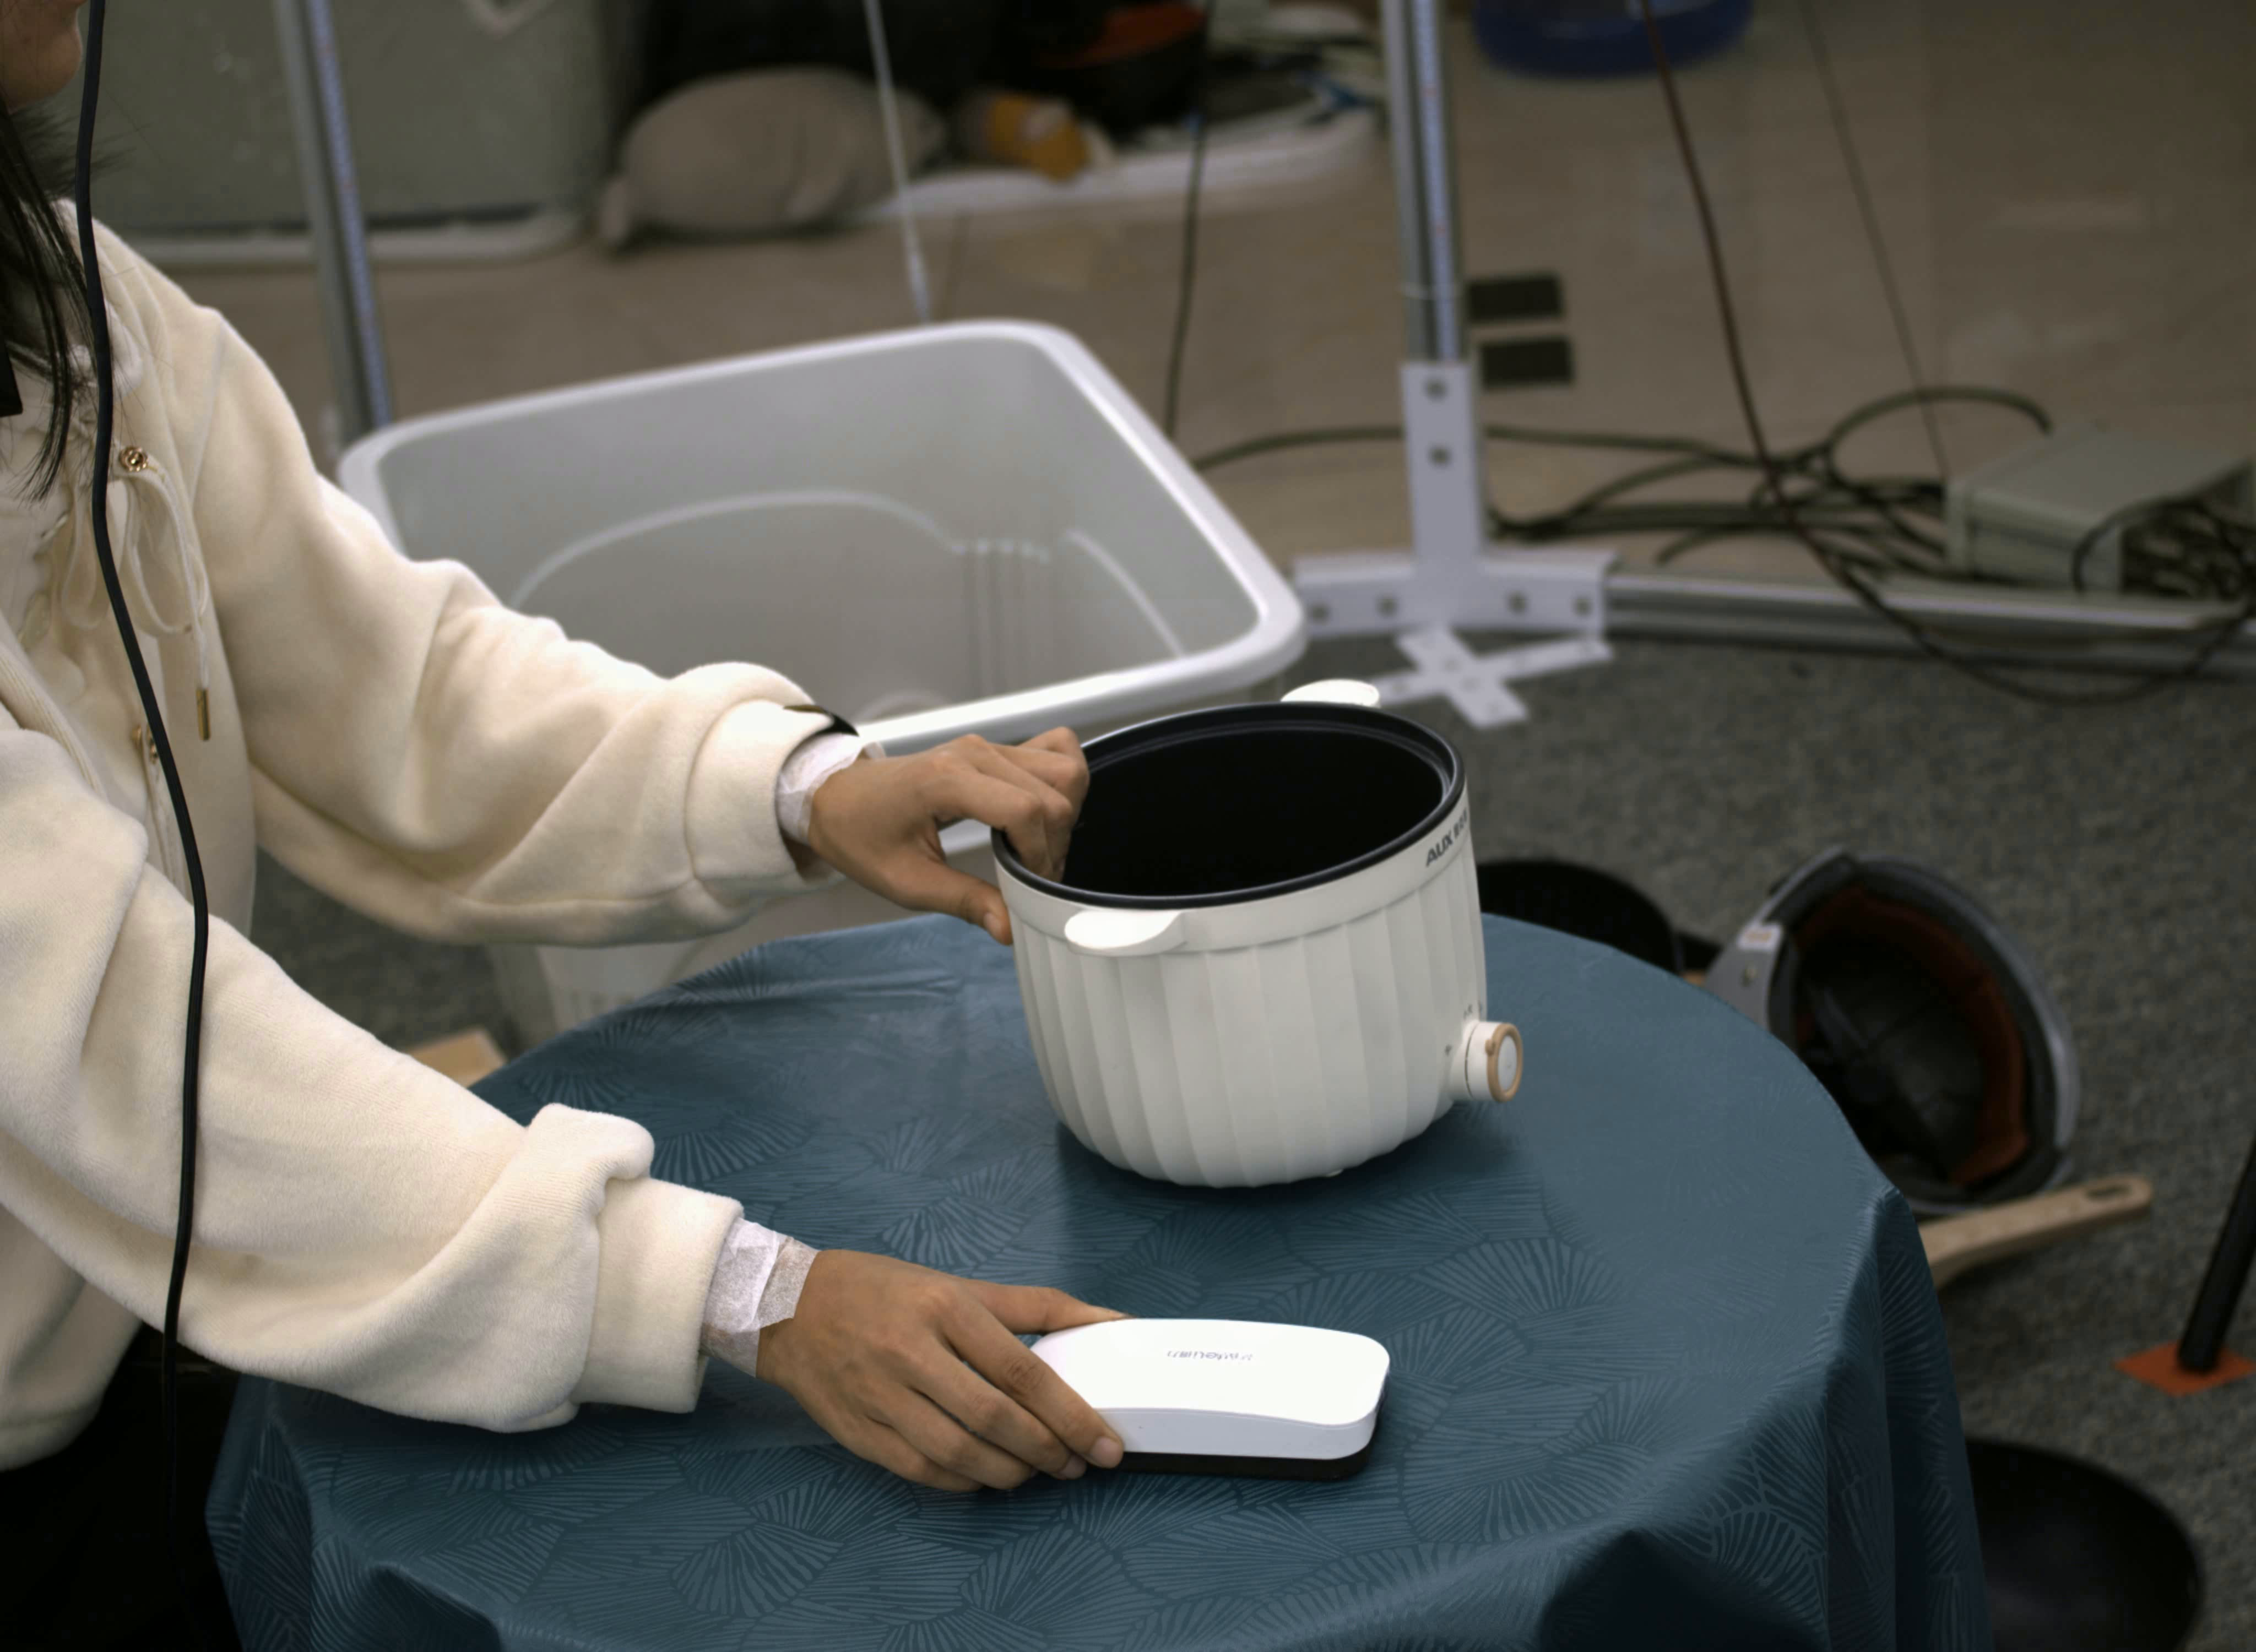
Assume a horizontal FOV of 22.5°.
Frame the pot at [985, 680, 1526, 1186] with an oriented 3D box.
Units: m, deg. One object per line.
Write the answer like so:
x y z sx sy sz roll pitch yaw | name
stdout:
0.052 0.048 2.156 0.190 0.145 0.237 -1 26 27 | pot

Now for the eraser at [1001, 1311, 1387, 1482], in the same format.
0.024 0.199 1.977 0.131 0.035 0.062 1 24 15 | eraser
